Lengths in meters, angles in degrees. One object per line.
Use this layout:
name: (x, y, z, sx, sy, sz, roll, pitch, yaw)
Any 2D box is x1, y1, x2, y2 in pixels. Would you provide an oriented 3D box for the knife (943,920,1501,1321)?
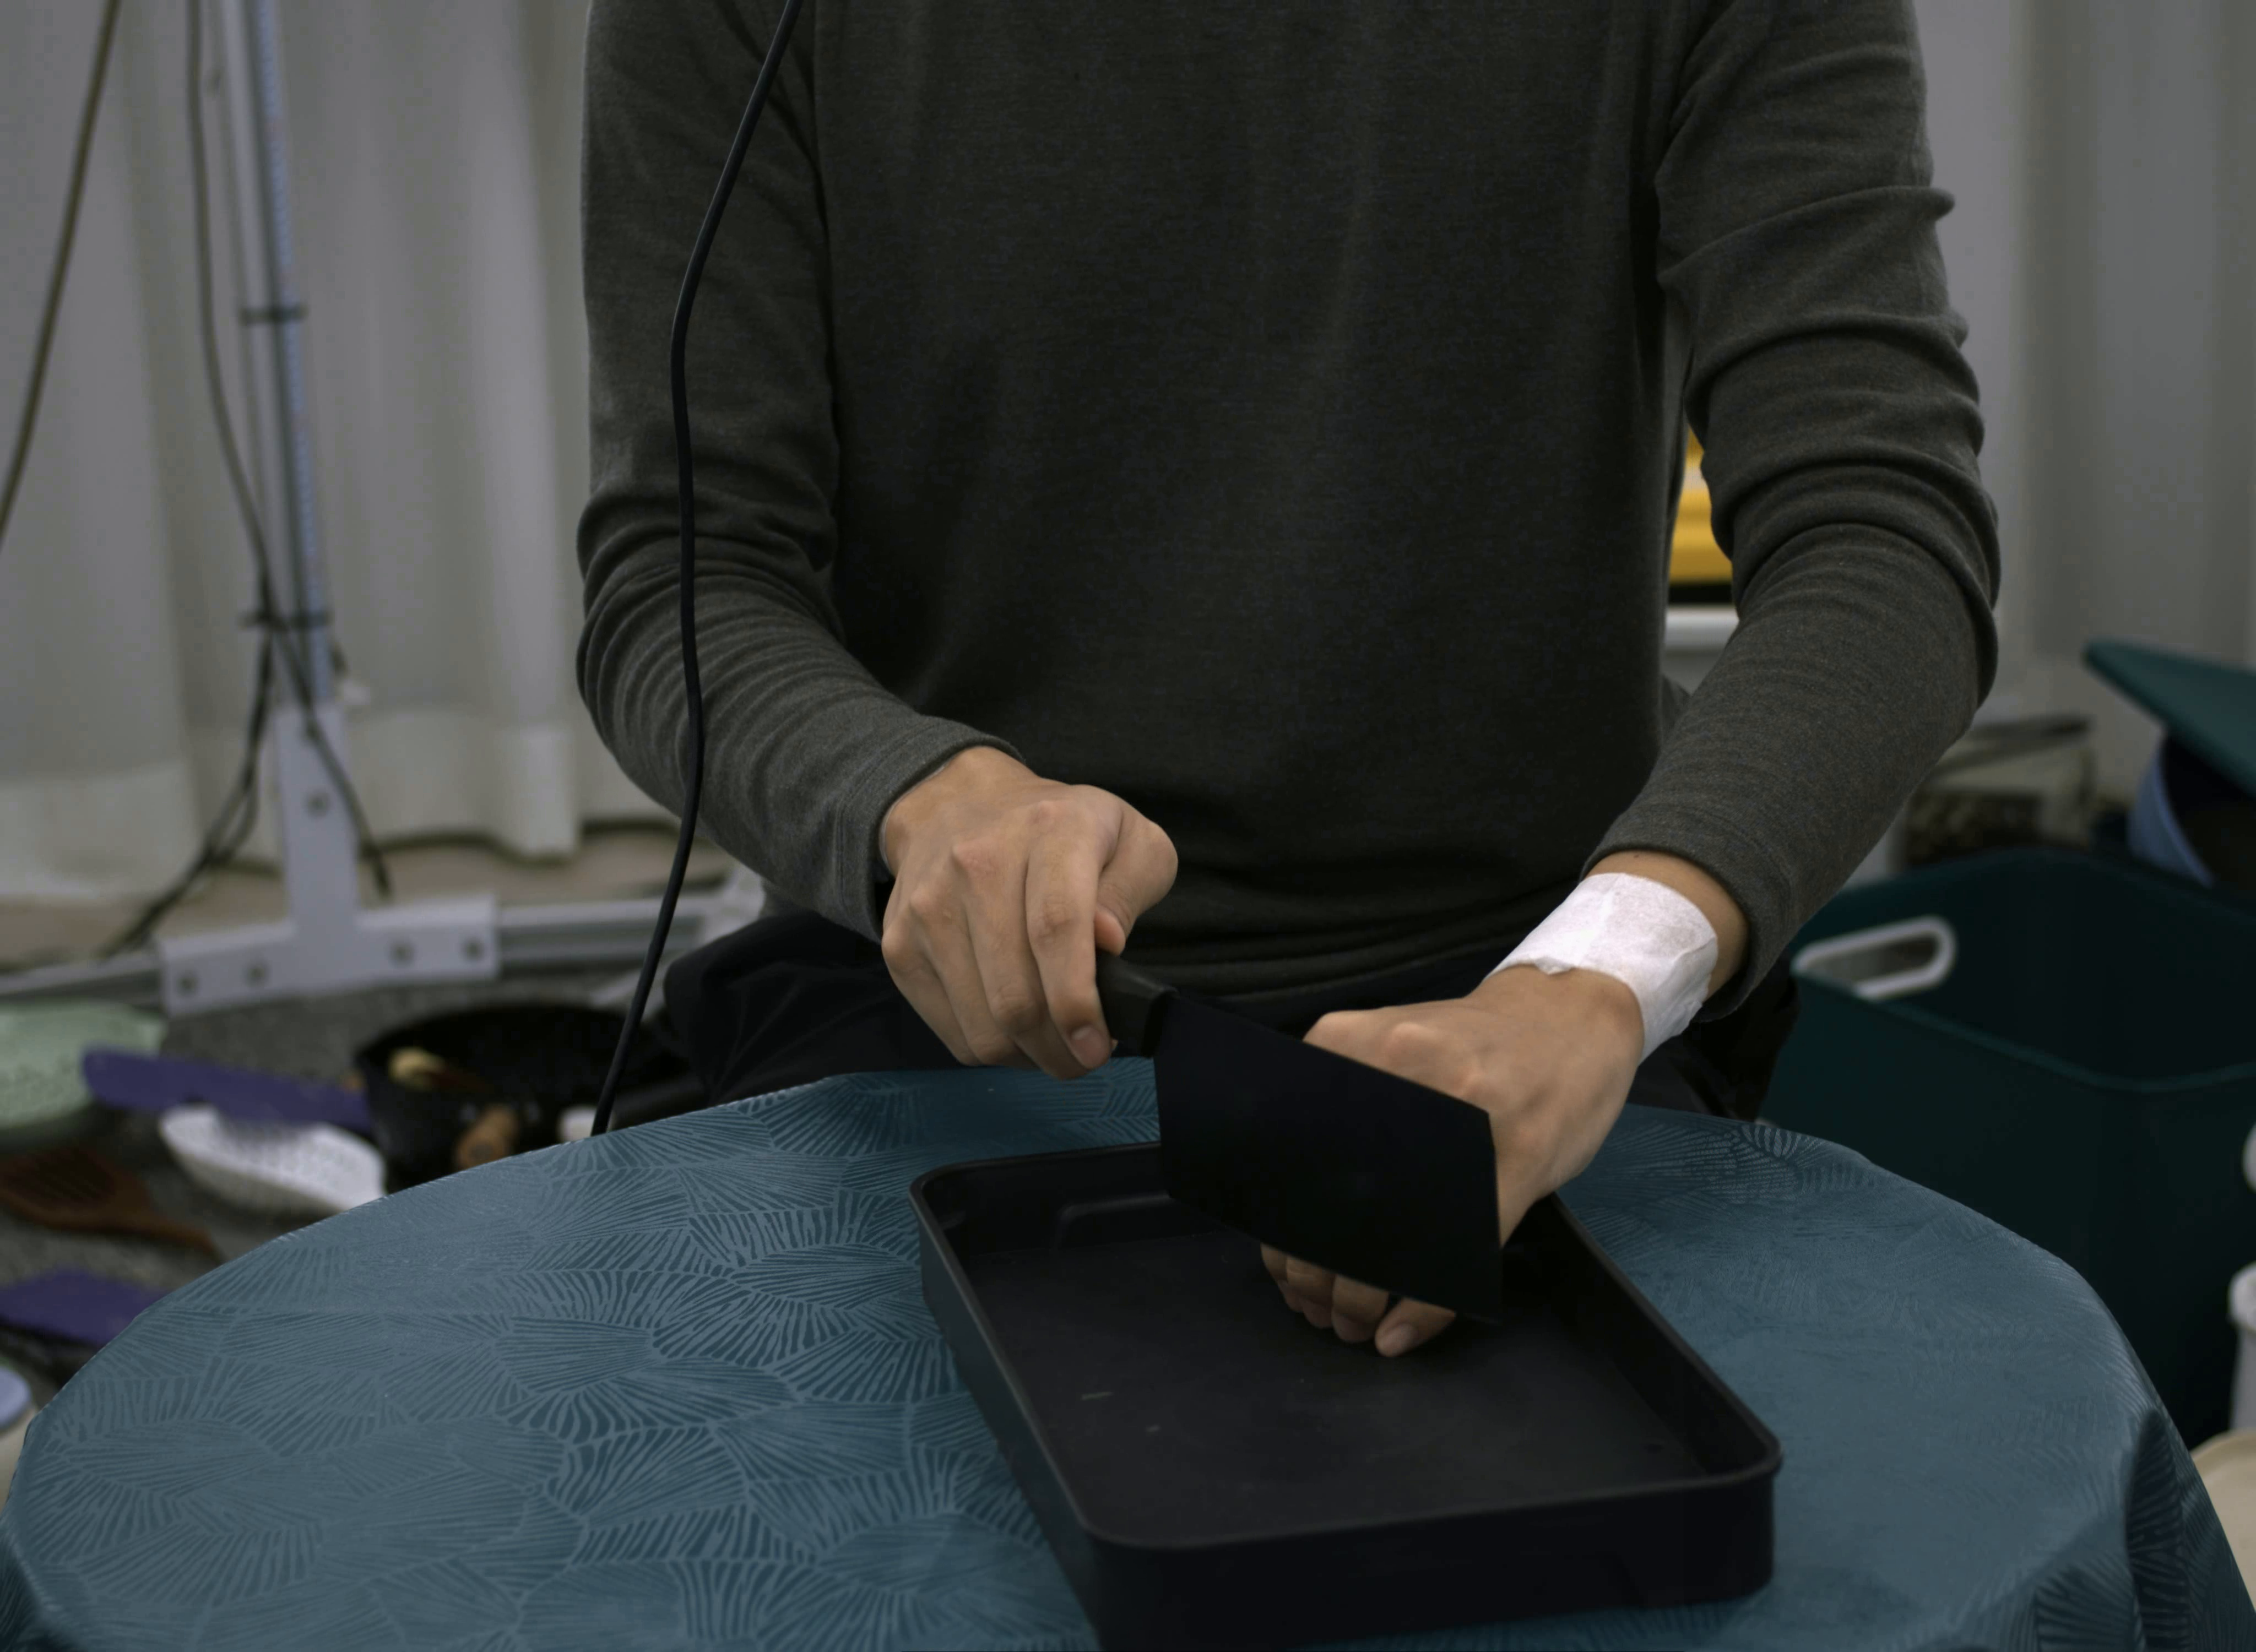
knife: (0.024, 0.079, 1.583, 0.021, 0.080, 0.305, -9, 18, -28)

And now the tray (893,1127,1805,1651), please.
tray: (0.052, 0.149, 1.506, 0.183, 0.037, 0.320, -6, 15, -12)
